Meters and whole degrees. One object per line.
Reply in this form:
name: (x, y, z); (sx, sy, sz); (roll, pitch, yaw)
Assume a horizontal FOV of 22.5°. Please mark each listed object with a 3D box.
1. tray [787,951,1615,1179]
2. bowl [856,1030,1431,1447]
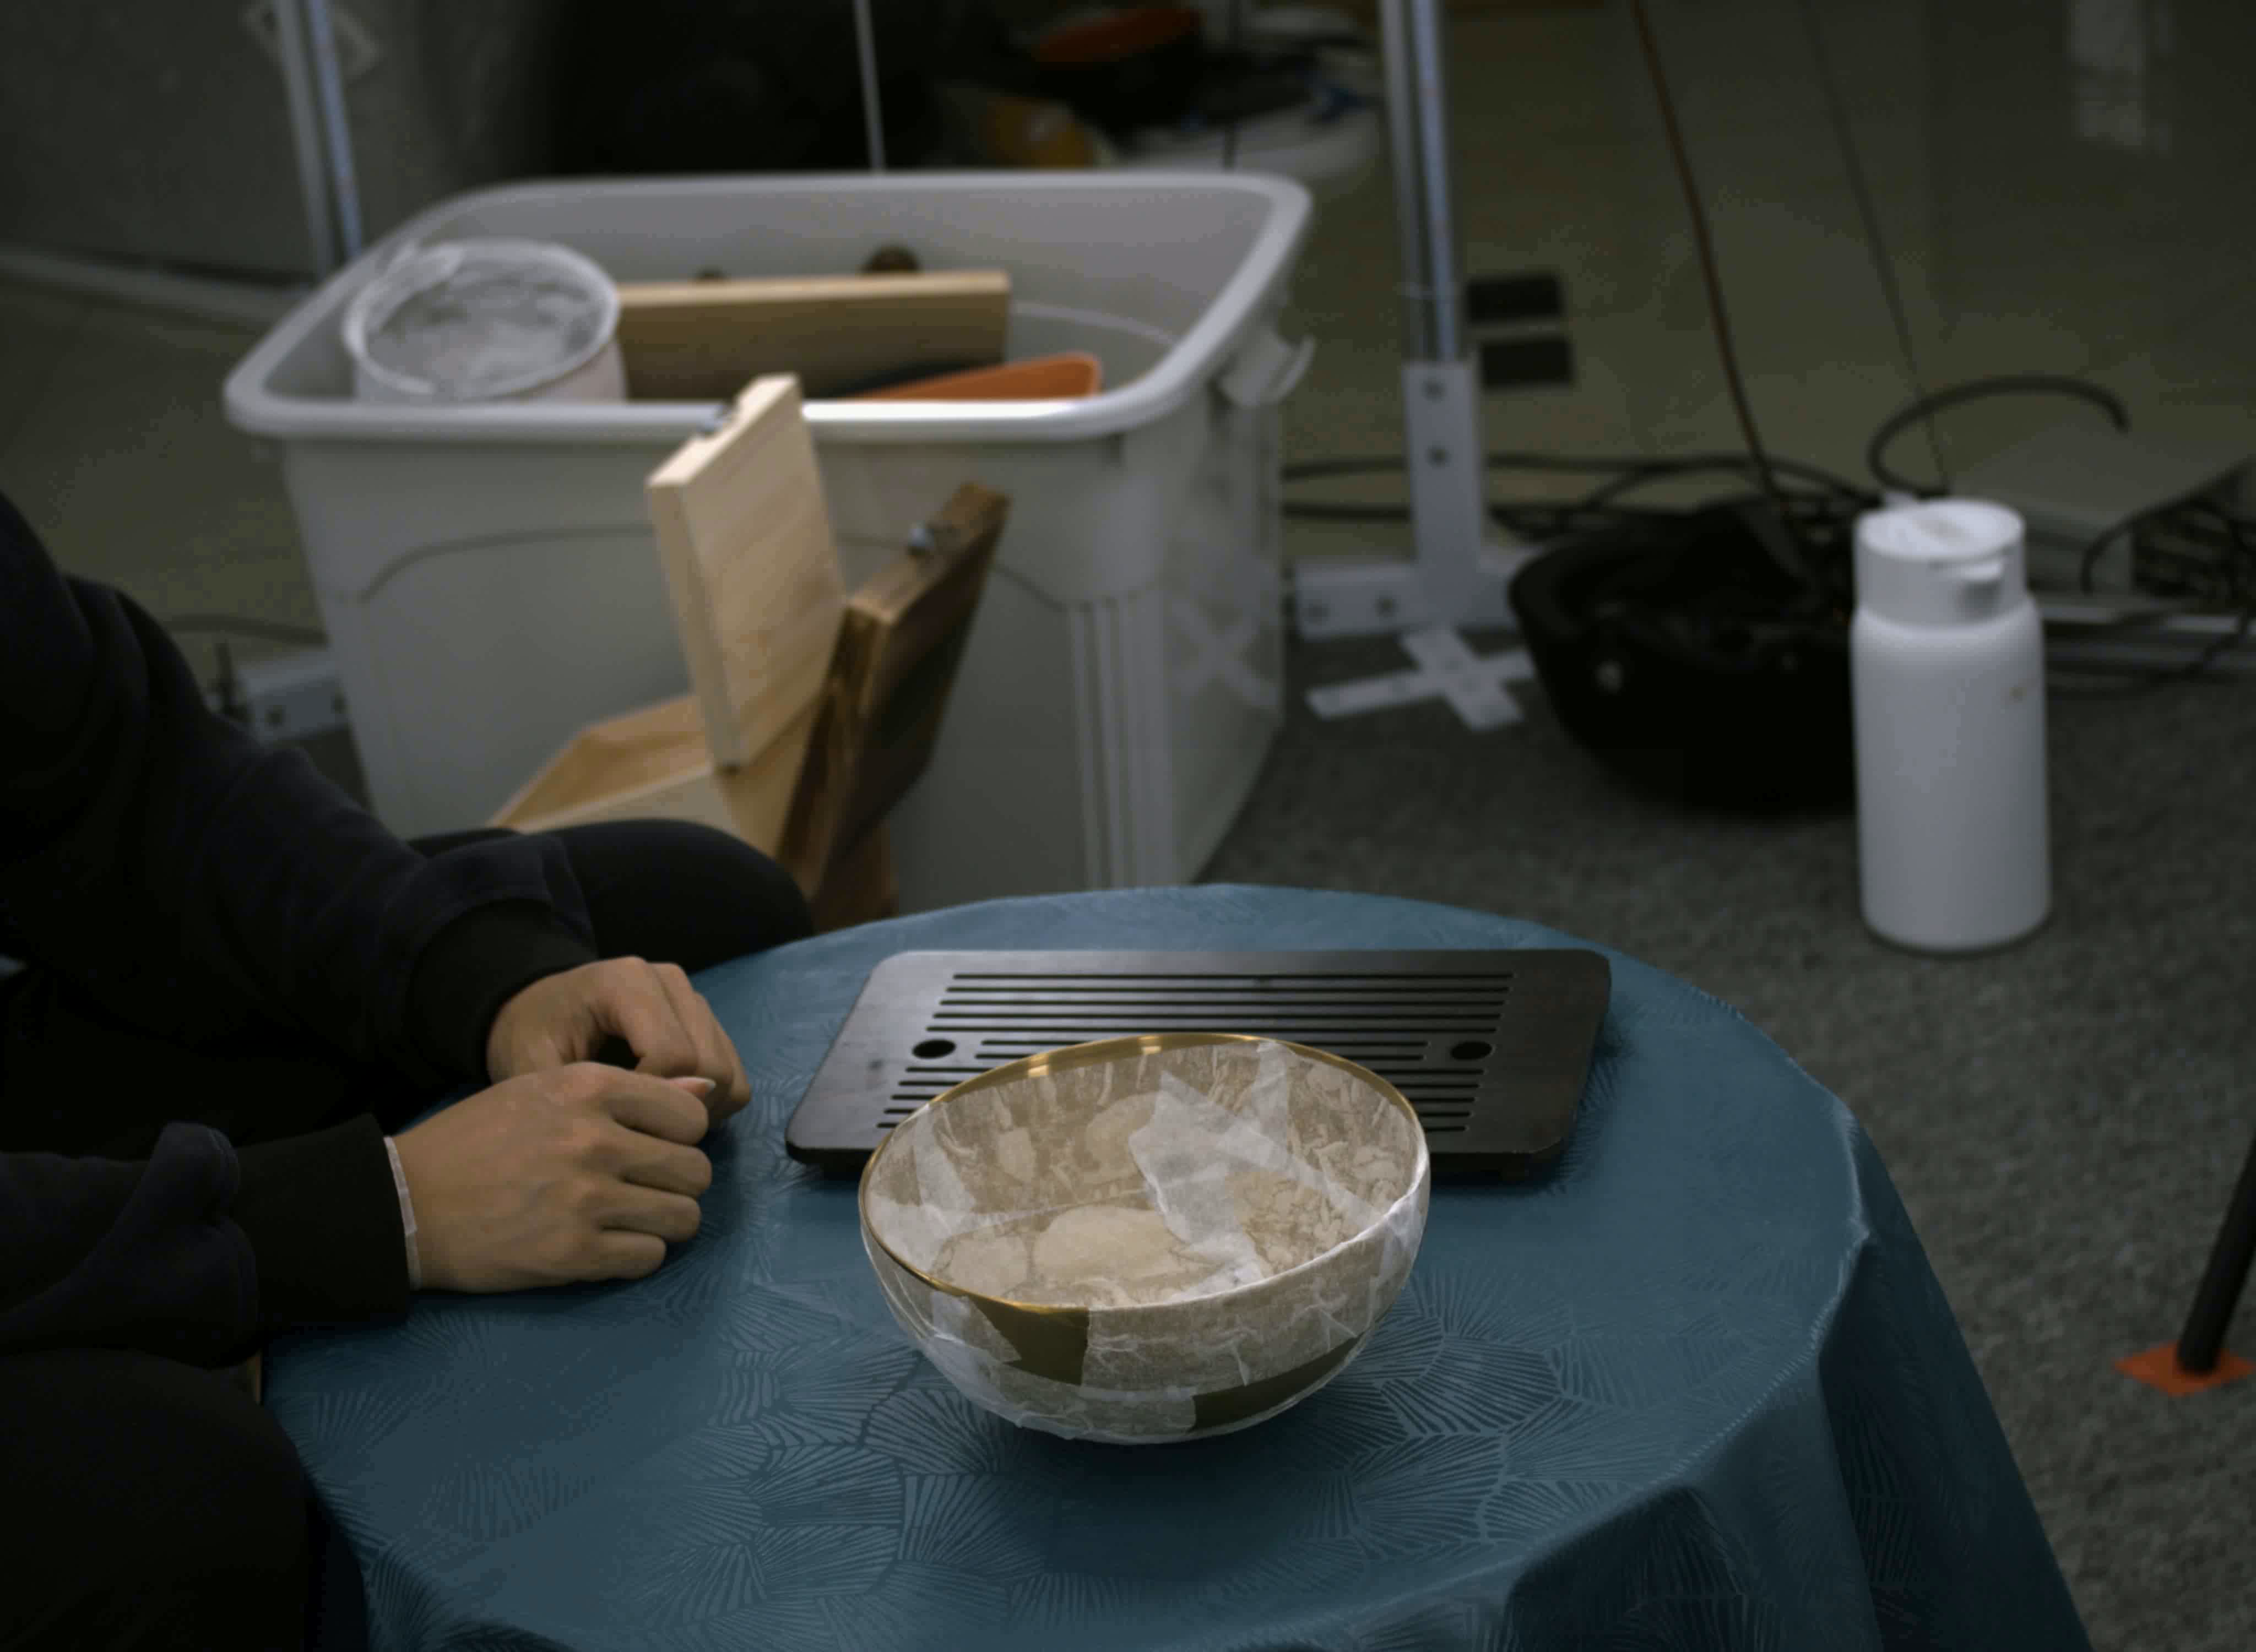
tray: (0.031, 0.093, 2.223); (0.305, 0.019, 0.167); (0, 26, 13)
bowl: (0.008, 0.156, 2.003); (0.214, 0.096, 0.211); (-6, 26, 3)
